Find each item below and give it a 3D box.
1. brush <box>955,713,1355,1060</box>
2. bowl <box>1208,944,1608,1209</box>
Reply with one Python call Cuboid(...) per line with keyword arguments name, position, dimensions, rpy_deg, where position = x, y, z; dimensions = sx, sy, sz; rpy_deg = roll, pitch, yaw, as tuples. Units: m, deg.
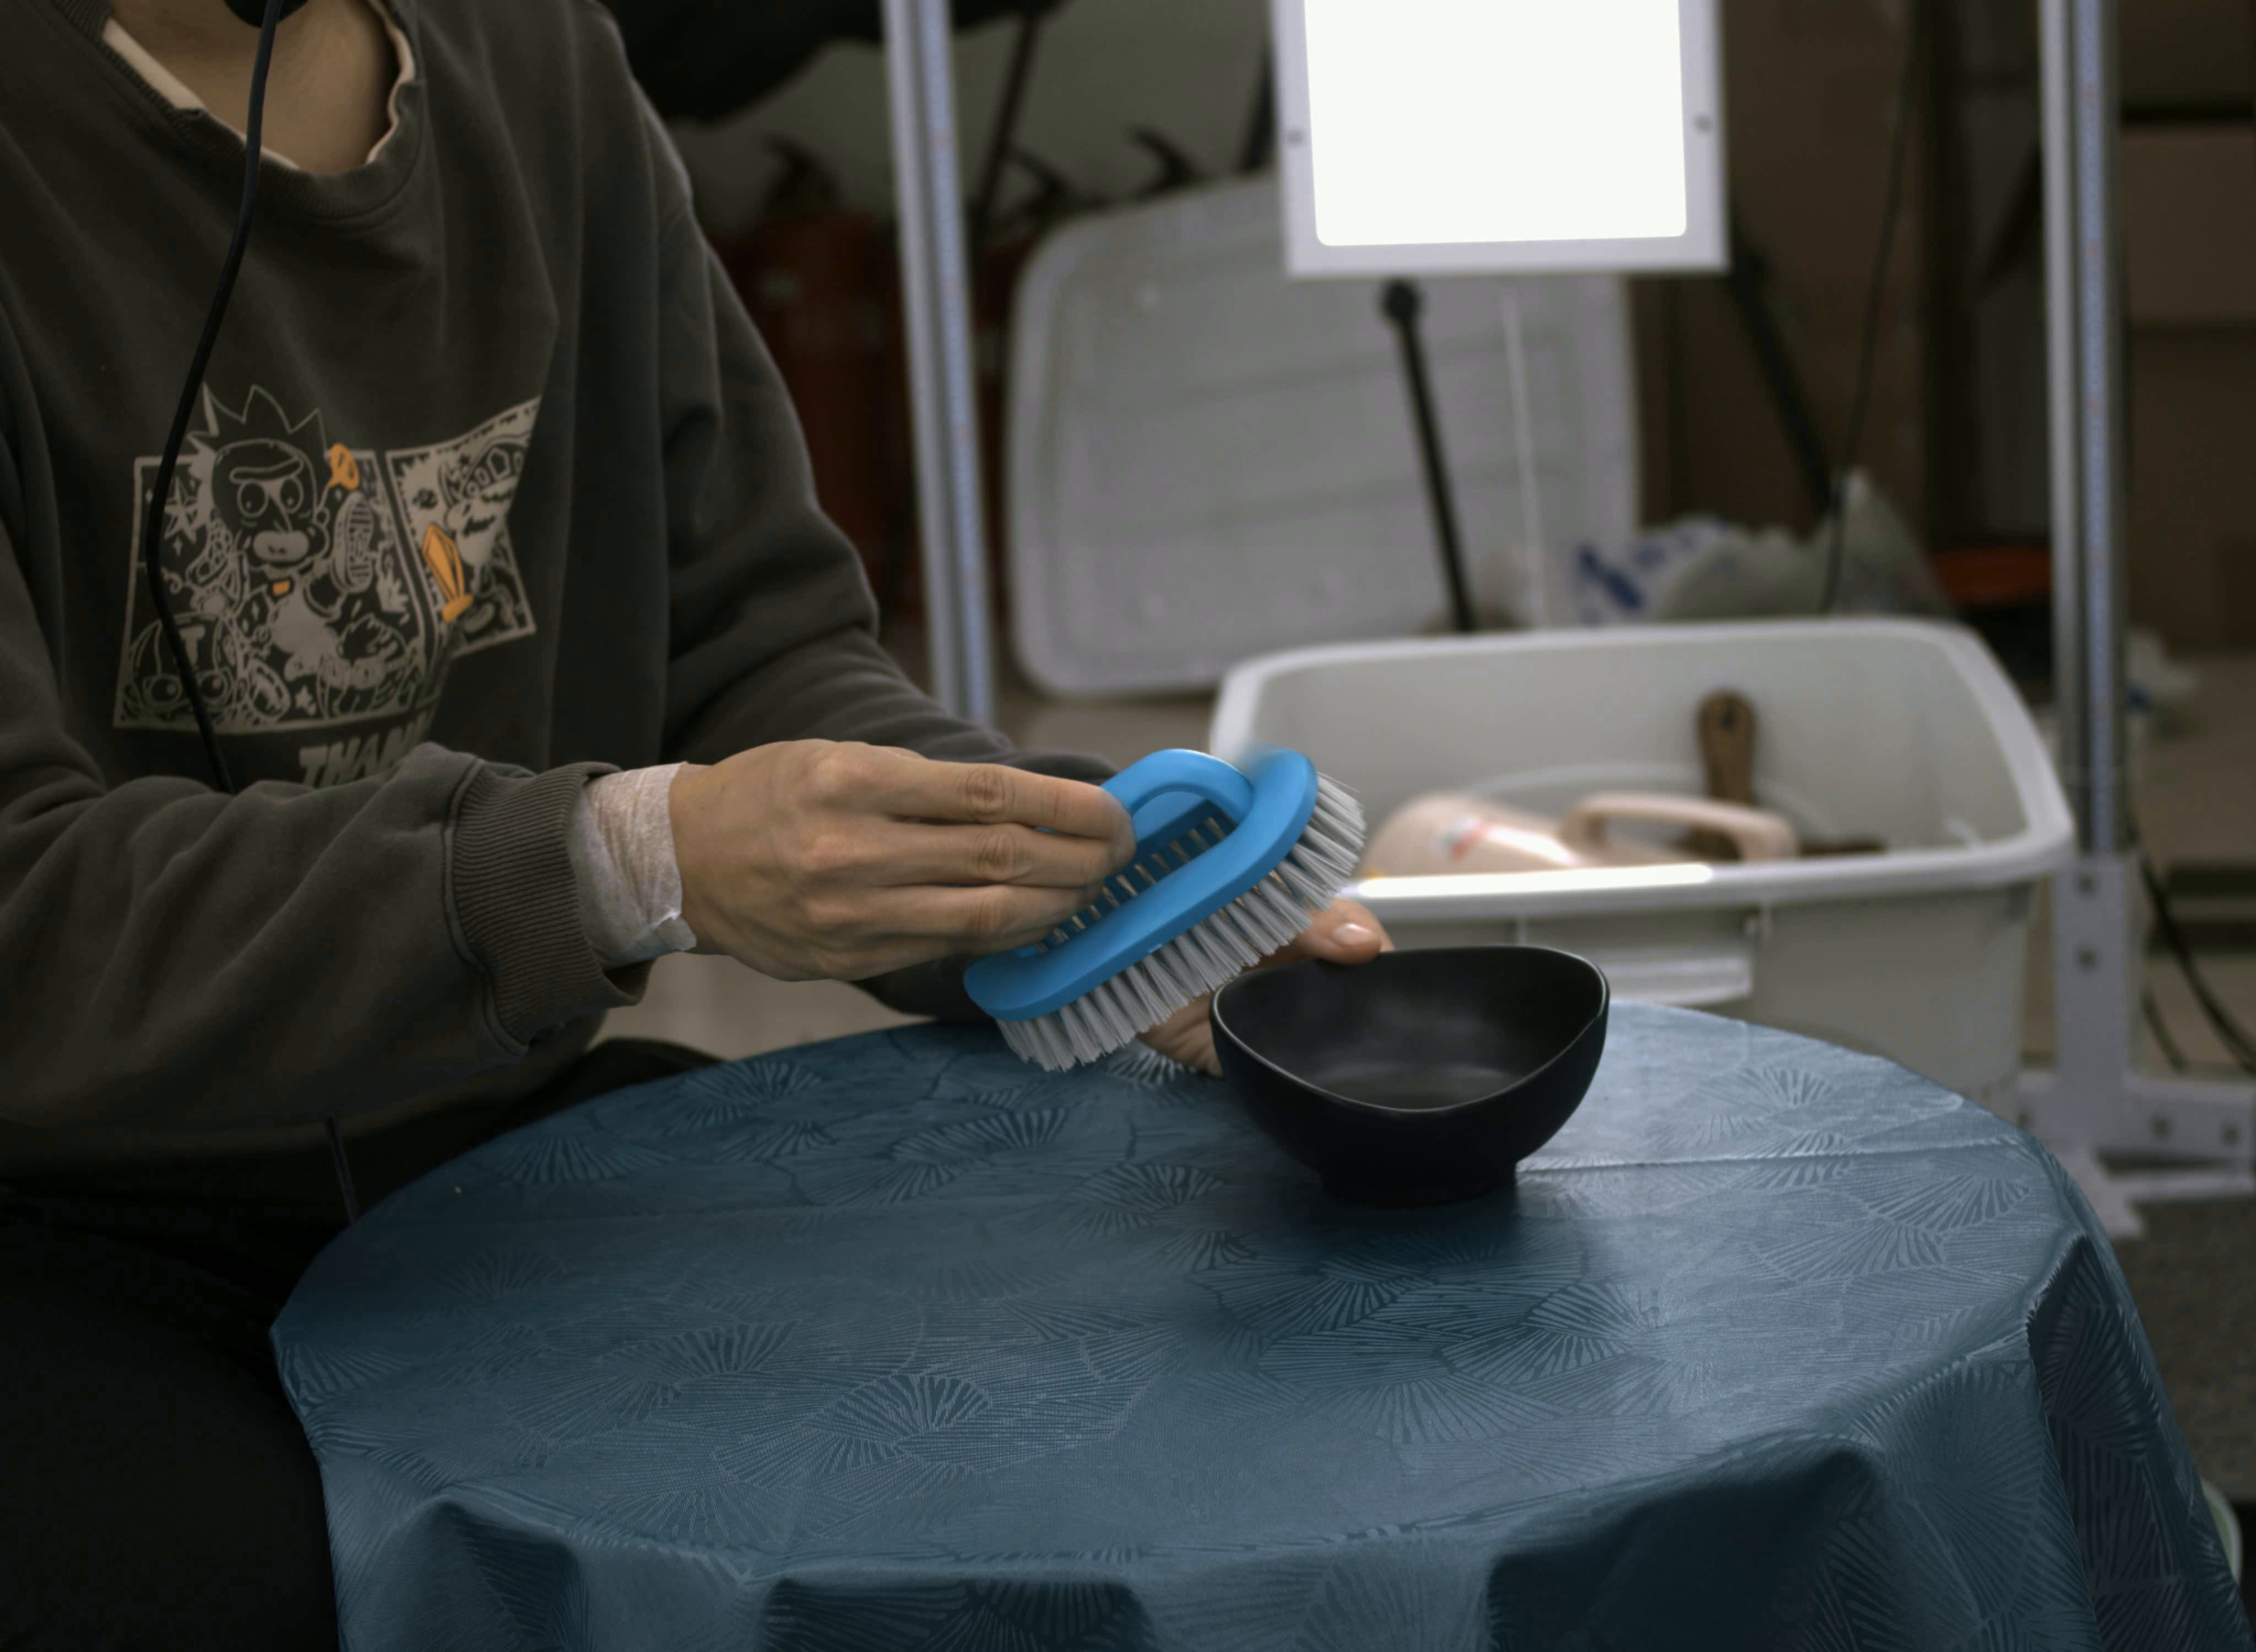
Cuboid(name="brush", position=(0.001, 0.012, 1.768), dimensions=(0.144, 0.063, 0.084), rpy_deg=(-32, 33, 20))
Cuboid(name="bowl", position=(0.099, 0.089, 1.880), dimensions=(0.137, 0.067, 0.170), rpy_deg=(-6, 15, -1))
